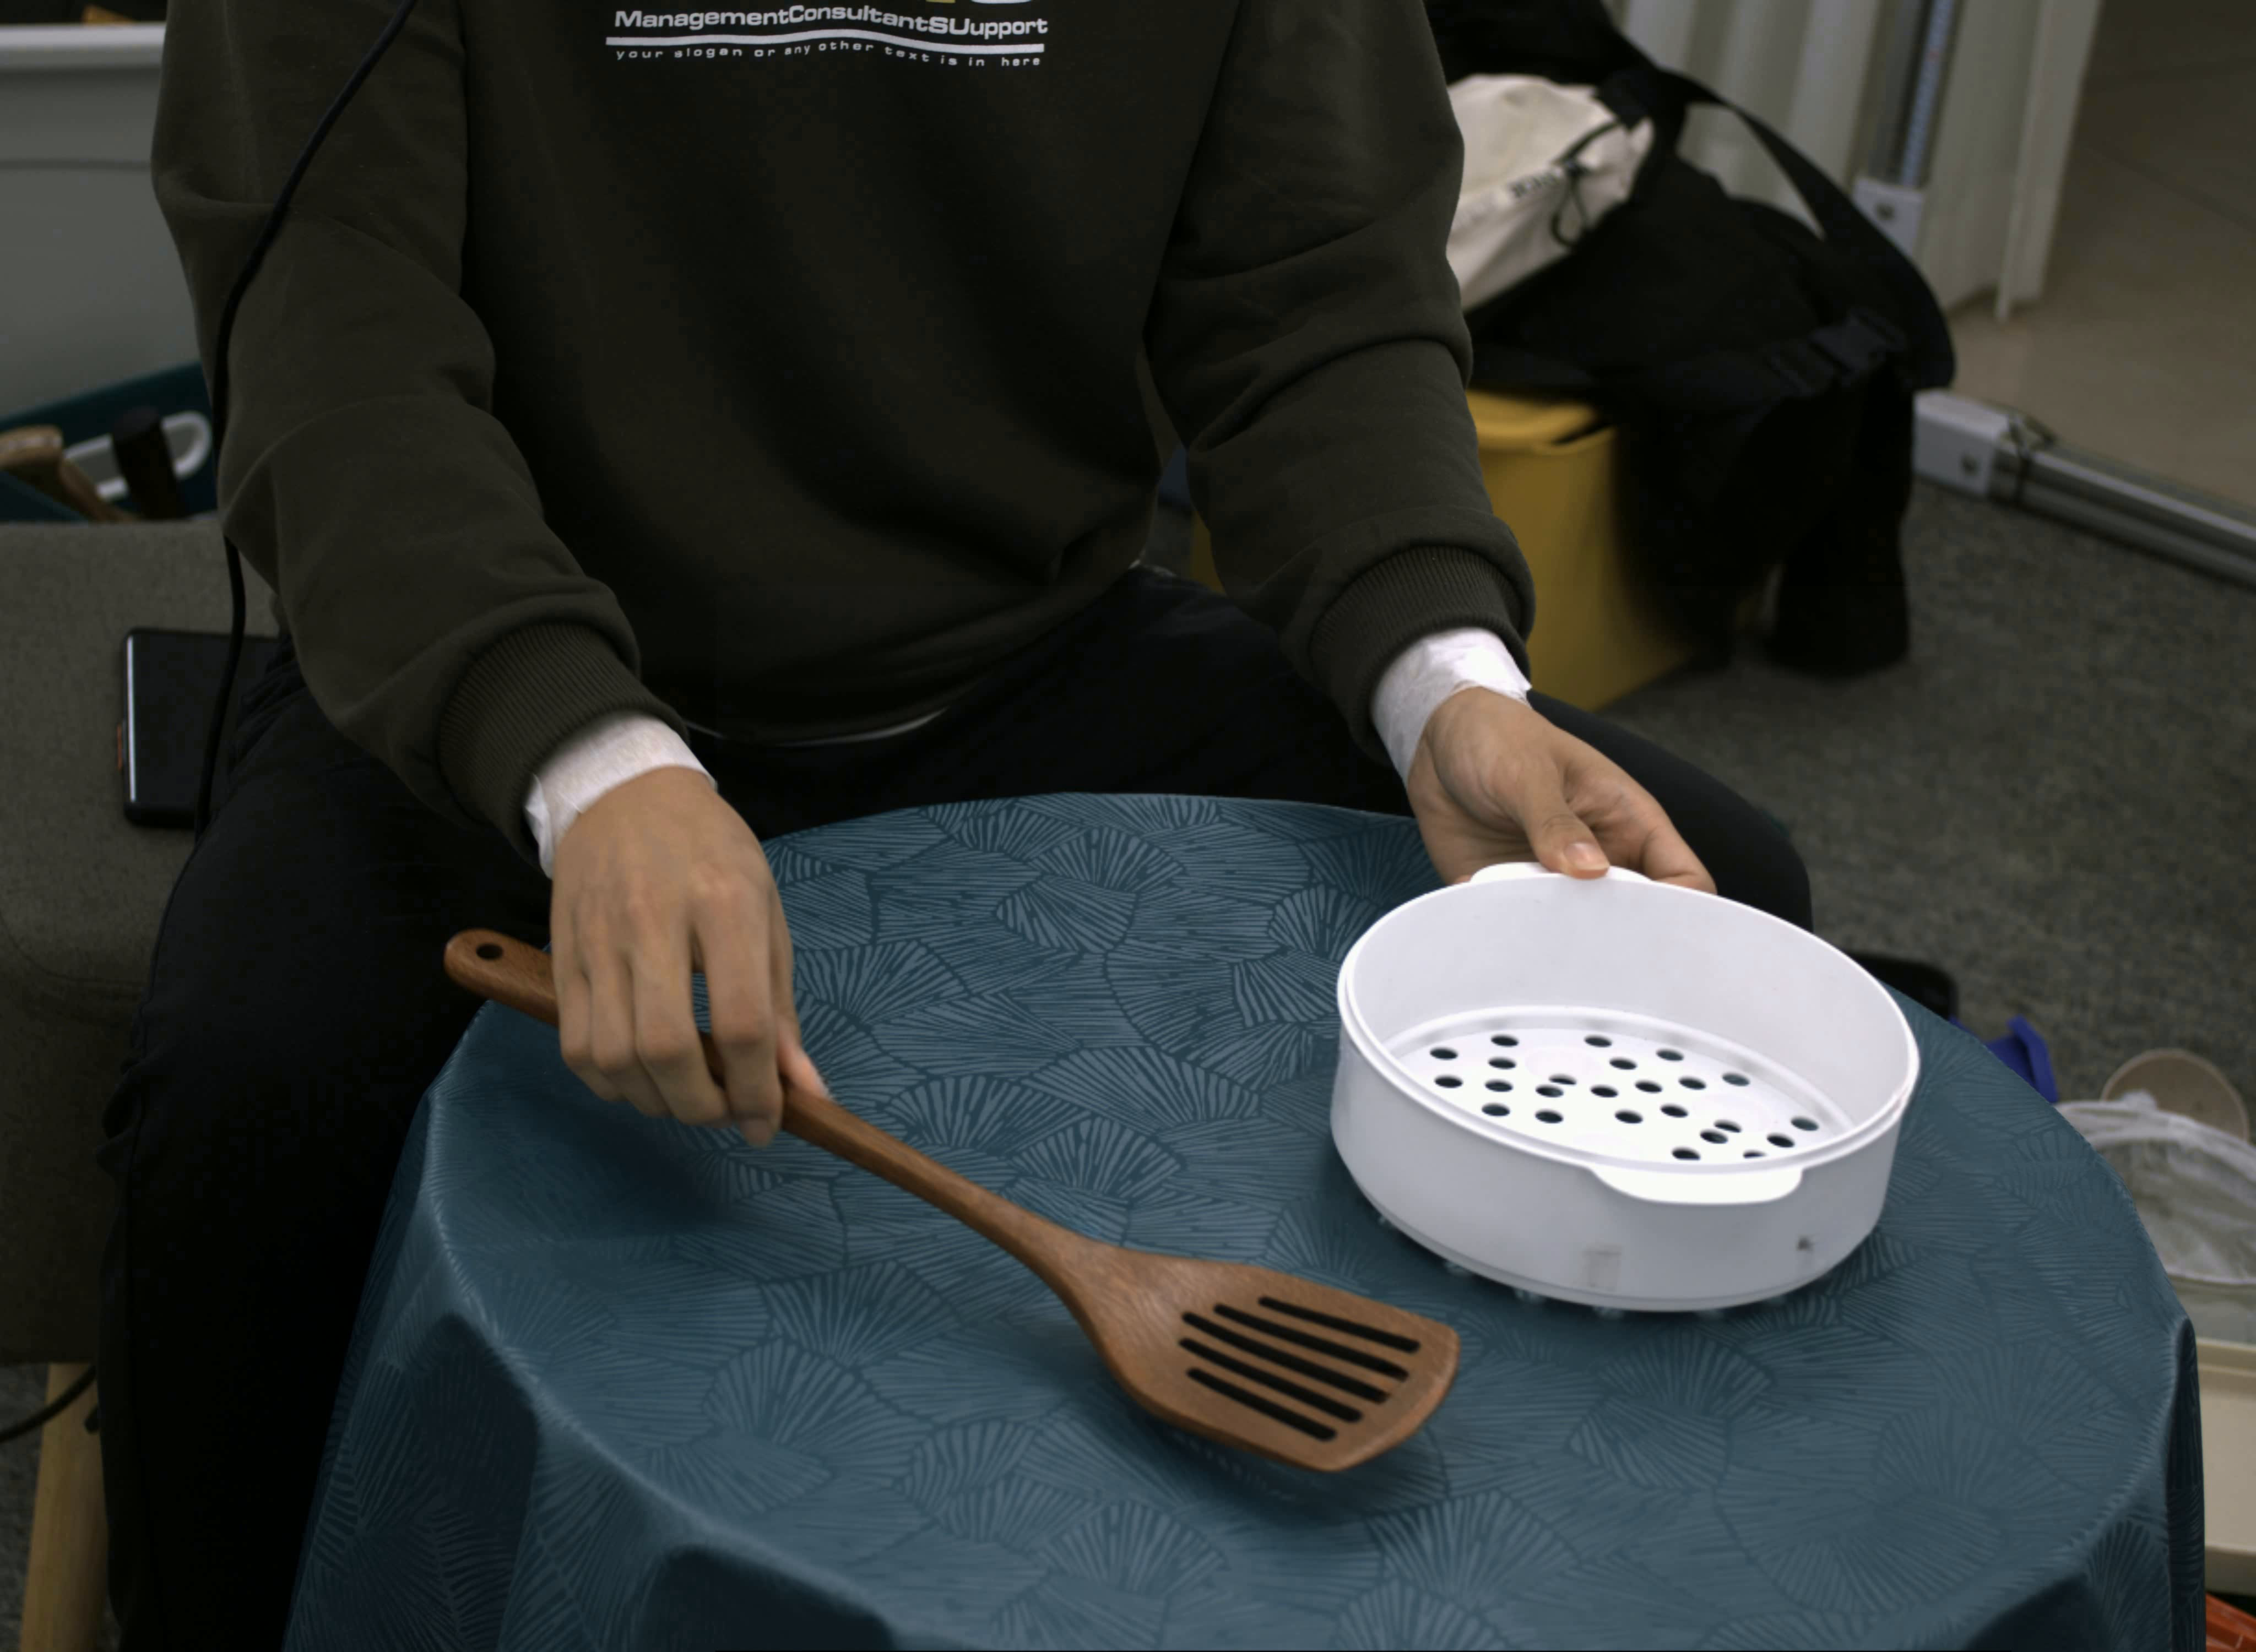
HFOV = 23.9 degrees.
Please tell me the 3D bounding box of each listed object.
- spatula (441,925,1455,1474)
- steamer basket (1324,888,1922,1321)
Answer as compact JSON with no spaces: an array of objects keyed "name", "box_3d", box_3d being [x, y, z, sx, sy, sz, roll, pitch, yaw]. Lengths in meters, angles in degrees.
[{"name":"spatula","box_3d":[-0.072,0.115,1.730,0.387,0.023,0.086,25,41,24]},{"name":"steamer basket","box_3d":[0.167,0.097,1.825,0.201,0.069,0.232,3,25,-11]}]
